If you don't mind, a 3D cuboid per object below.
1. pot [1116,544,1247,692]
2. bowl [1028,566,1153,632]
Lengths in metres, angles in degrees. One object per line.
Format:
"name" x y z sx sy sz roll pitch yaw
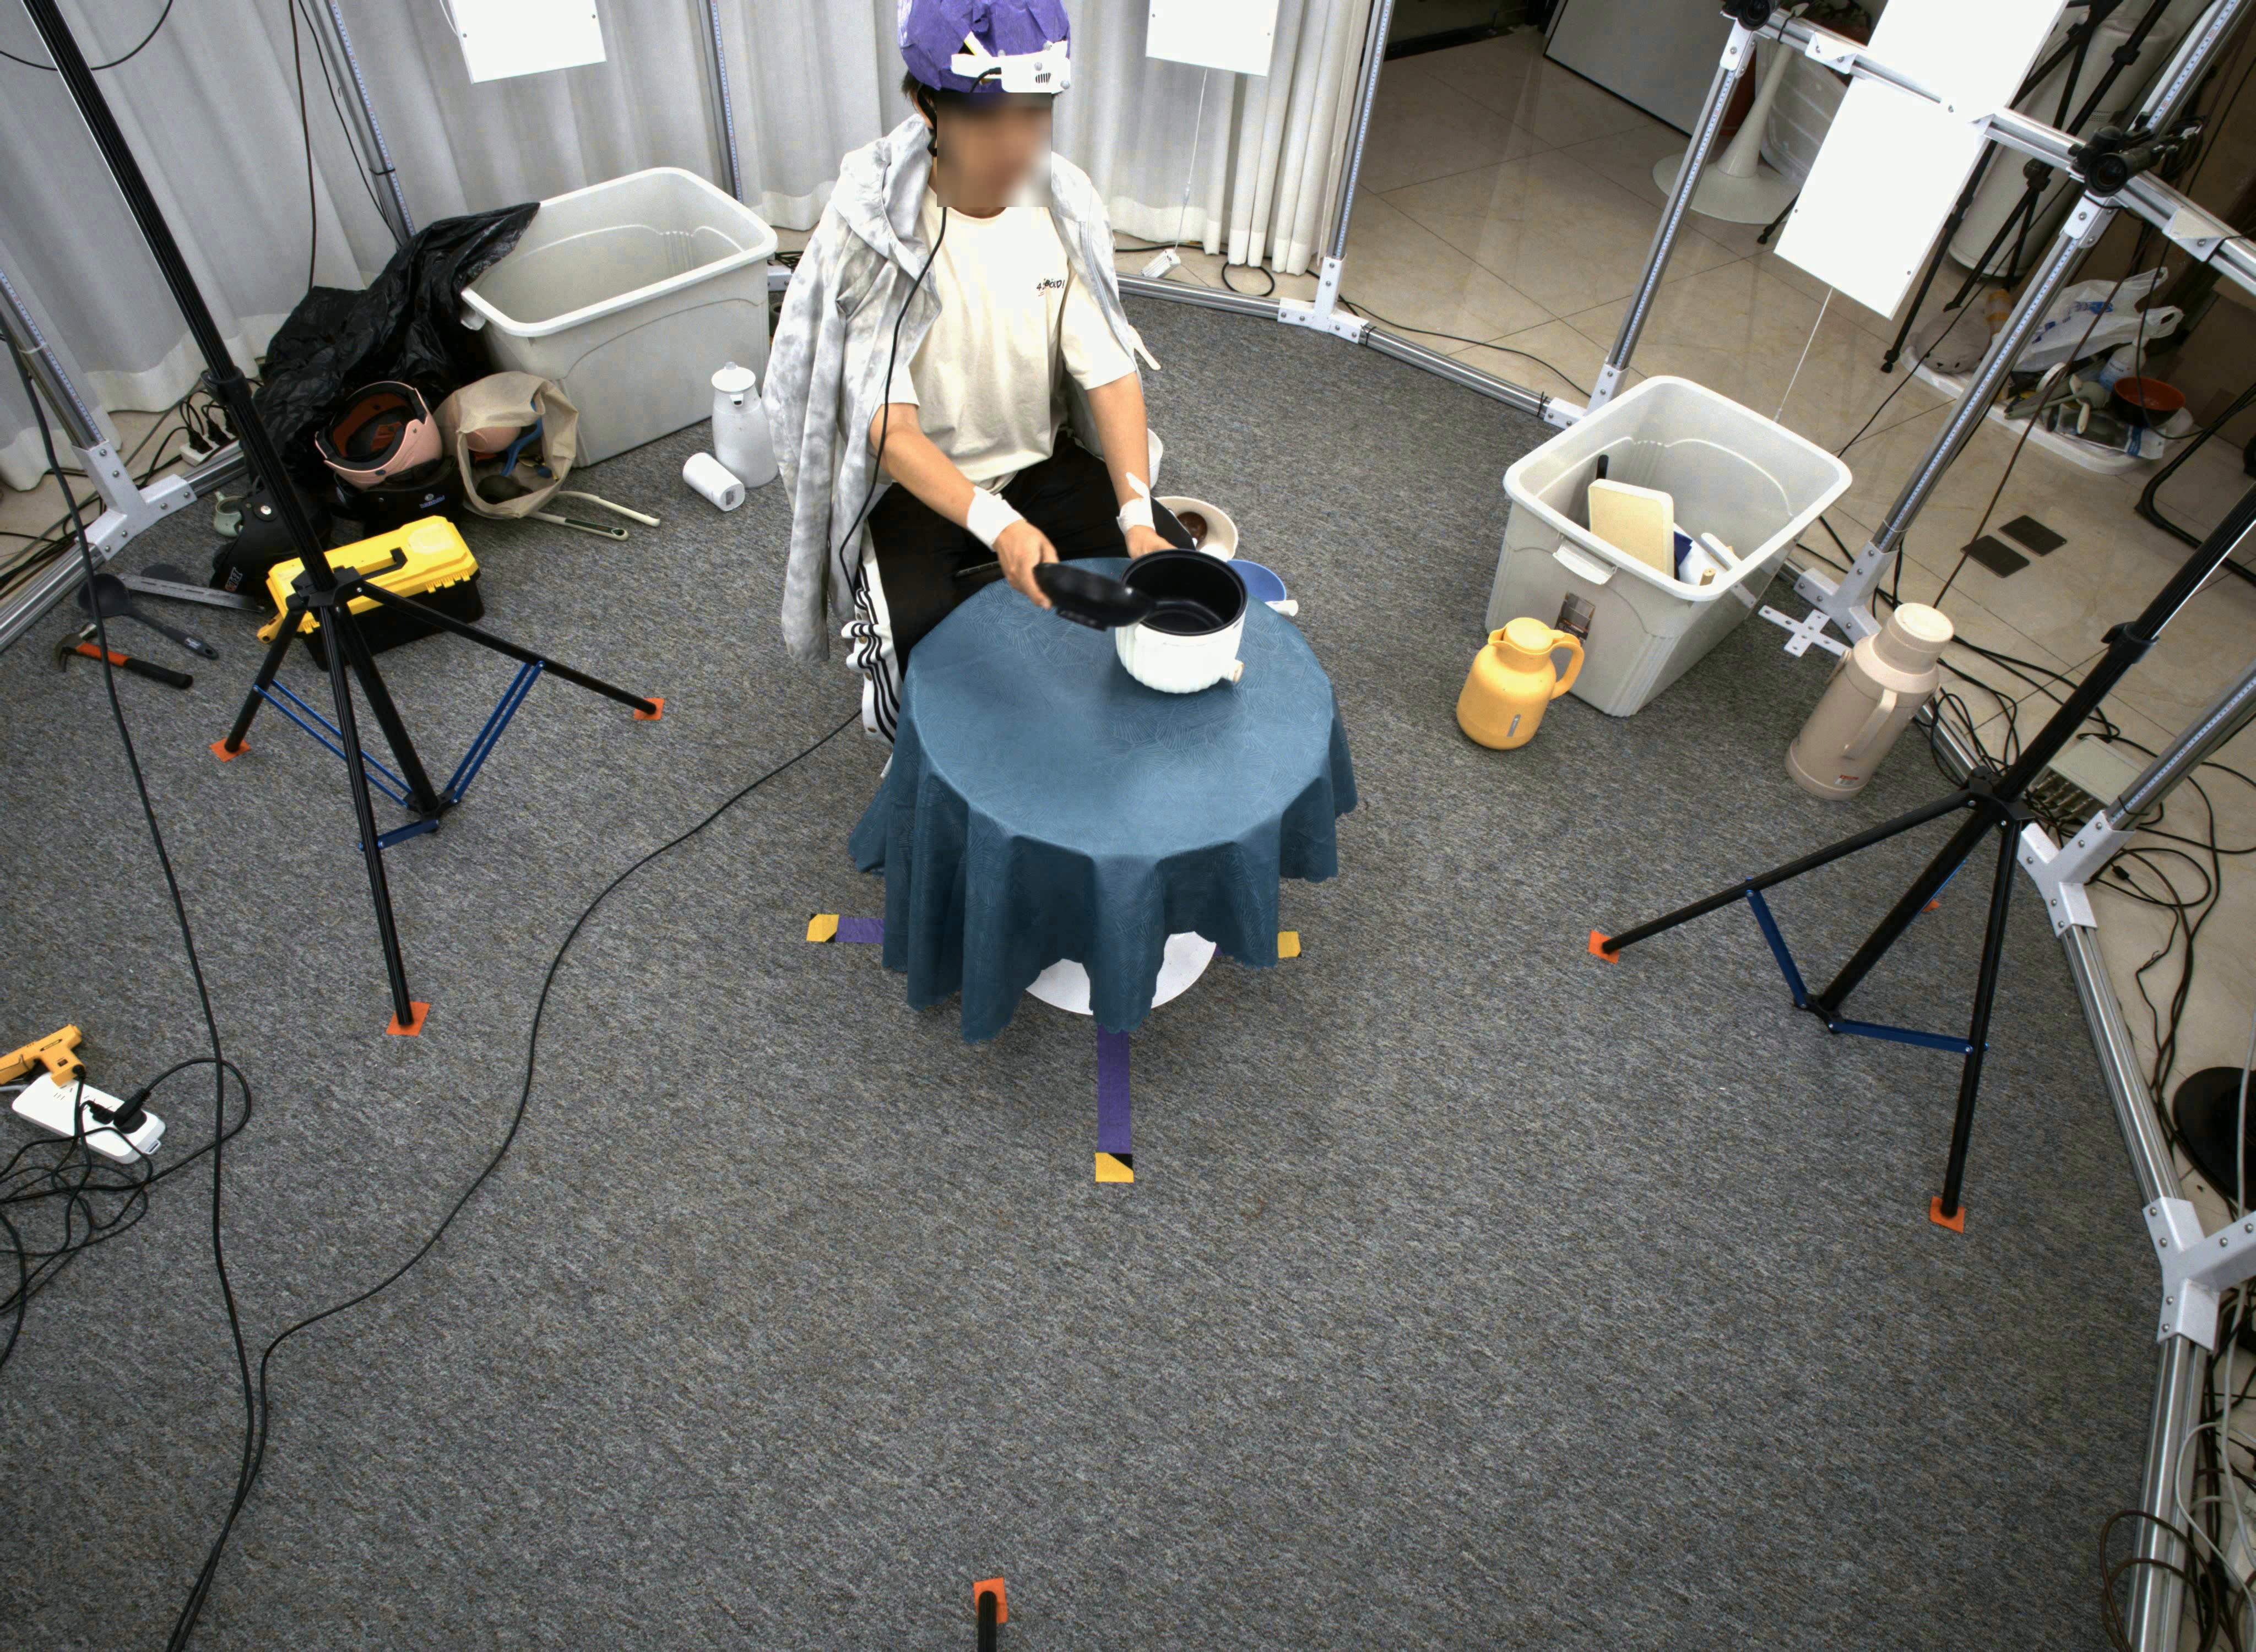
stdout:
"pot" 0.077 -0.284 1.824 0.192 0.139 0.244 21 51 18
"bowl" -0.055 -0.292 1.669 0.171 0.066 0.137 19 7 11
